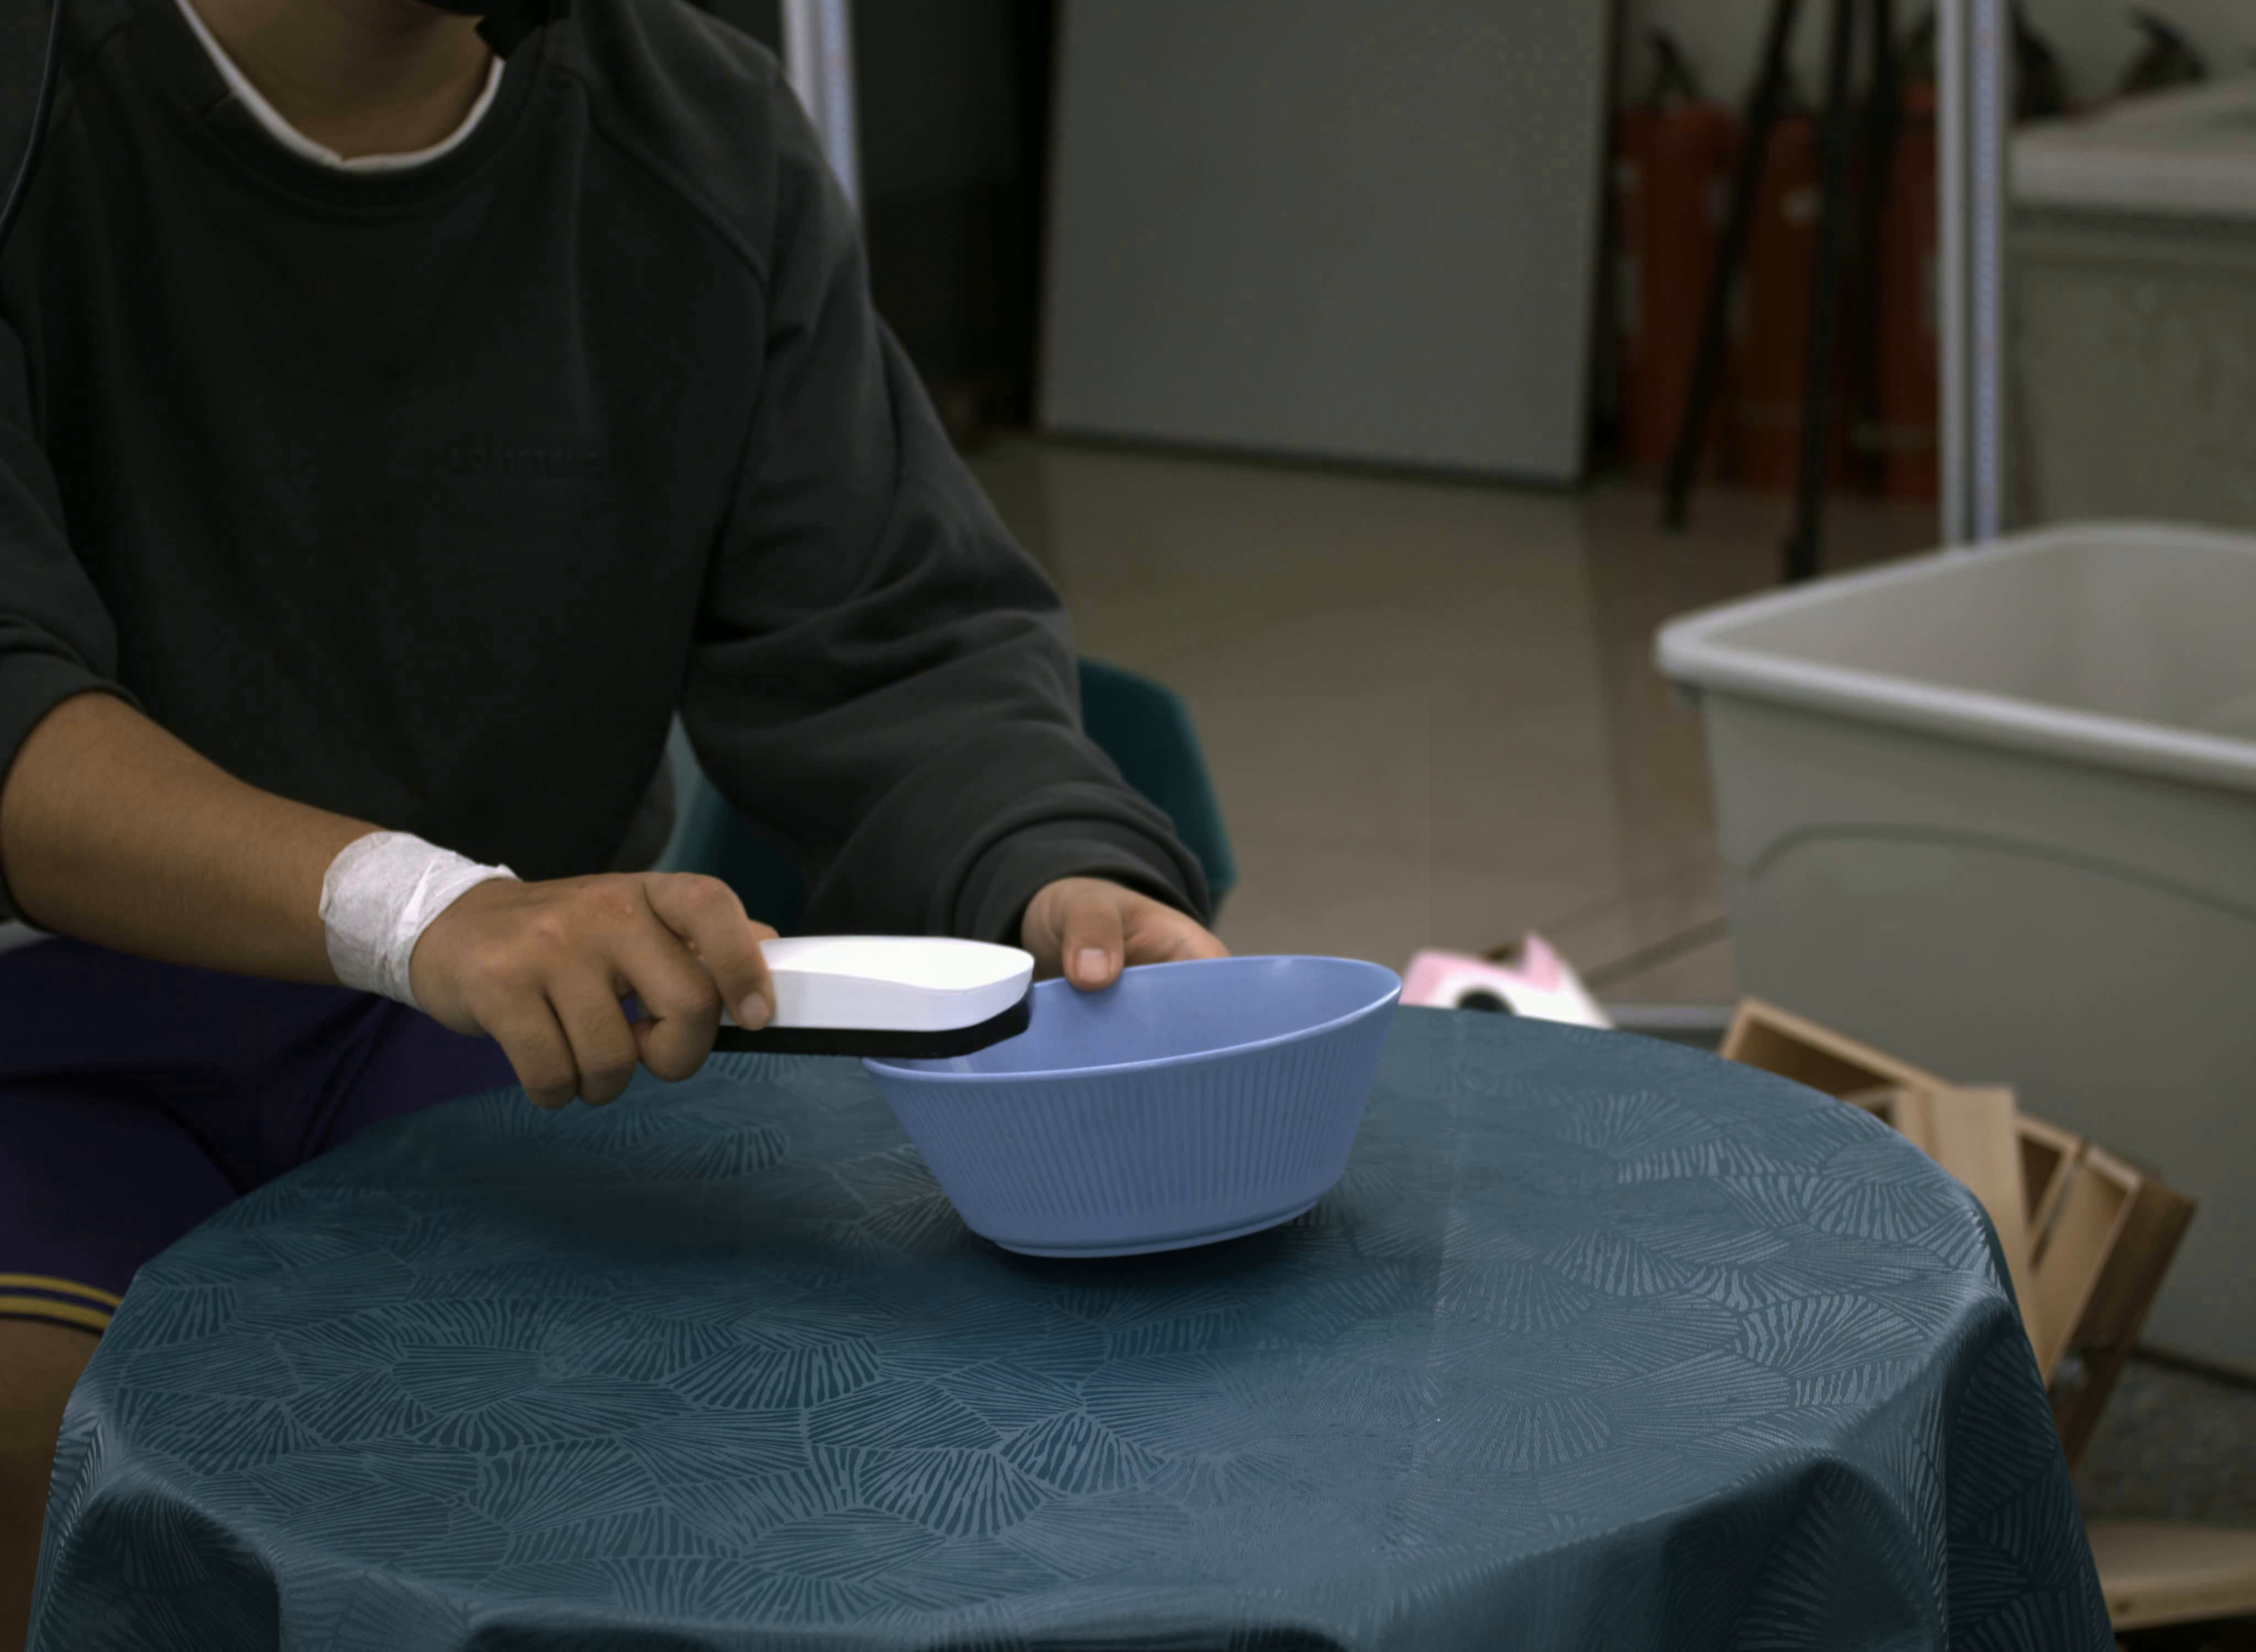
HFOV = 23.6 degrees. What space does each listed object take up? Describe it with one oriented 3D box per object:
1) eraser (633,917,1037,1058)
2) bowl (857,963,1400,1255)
[{"bbox_3d":[-0.093,0.052,1.736,0.132,0.035,0.062,2,9,32],"label":"eraser"},{"bbox_3d":[0.004,0.091,1.714,0.174,0.071,0.176,-7,7,0],"label":"bowl"}]
